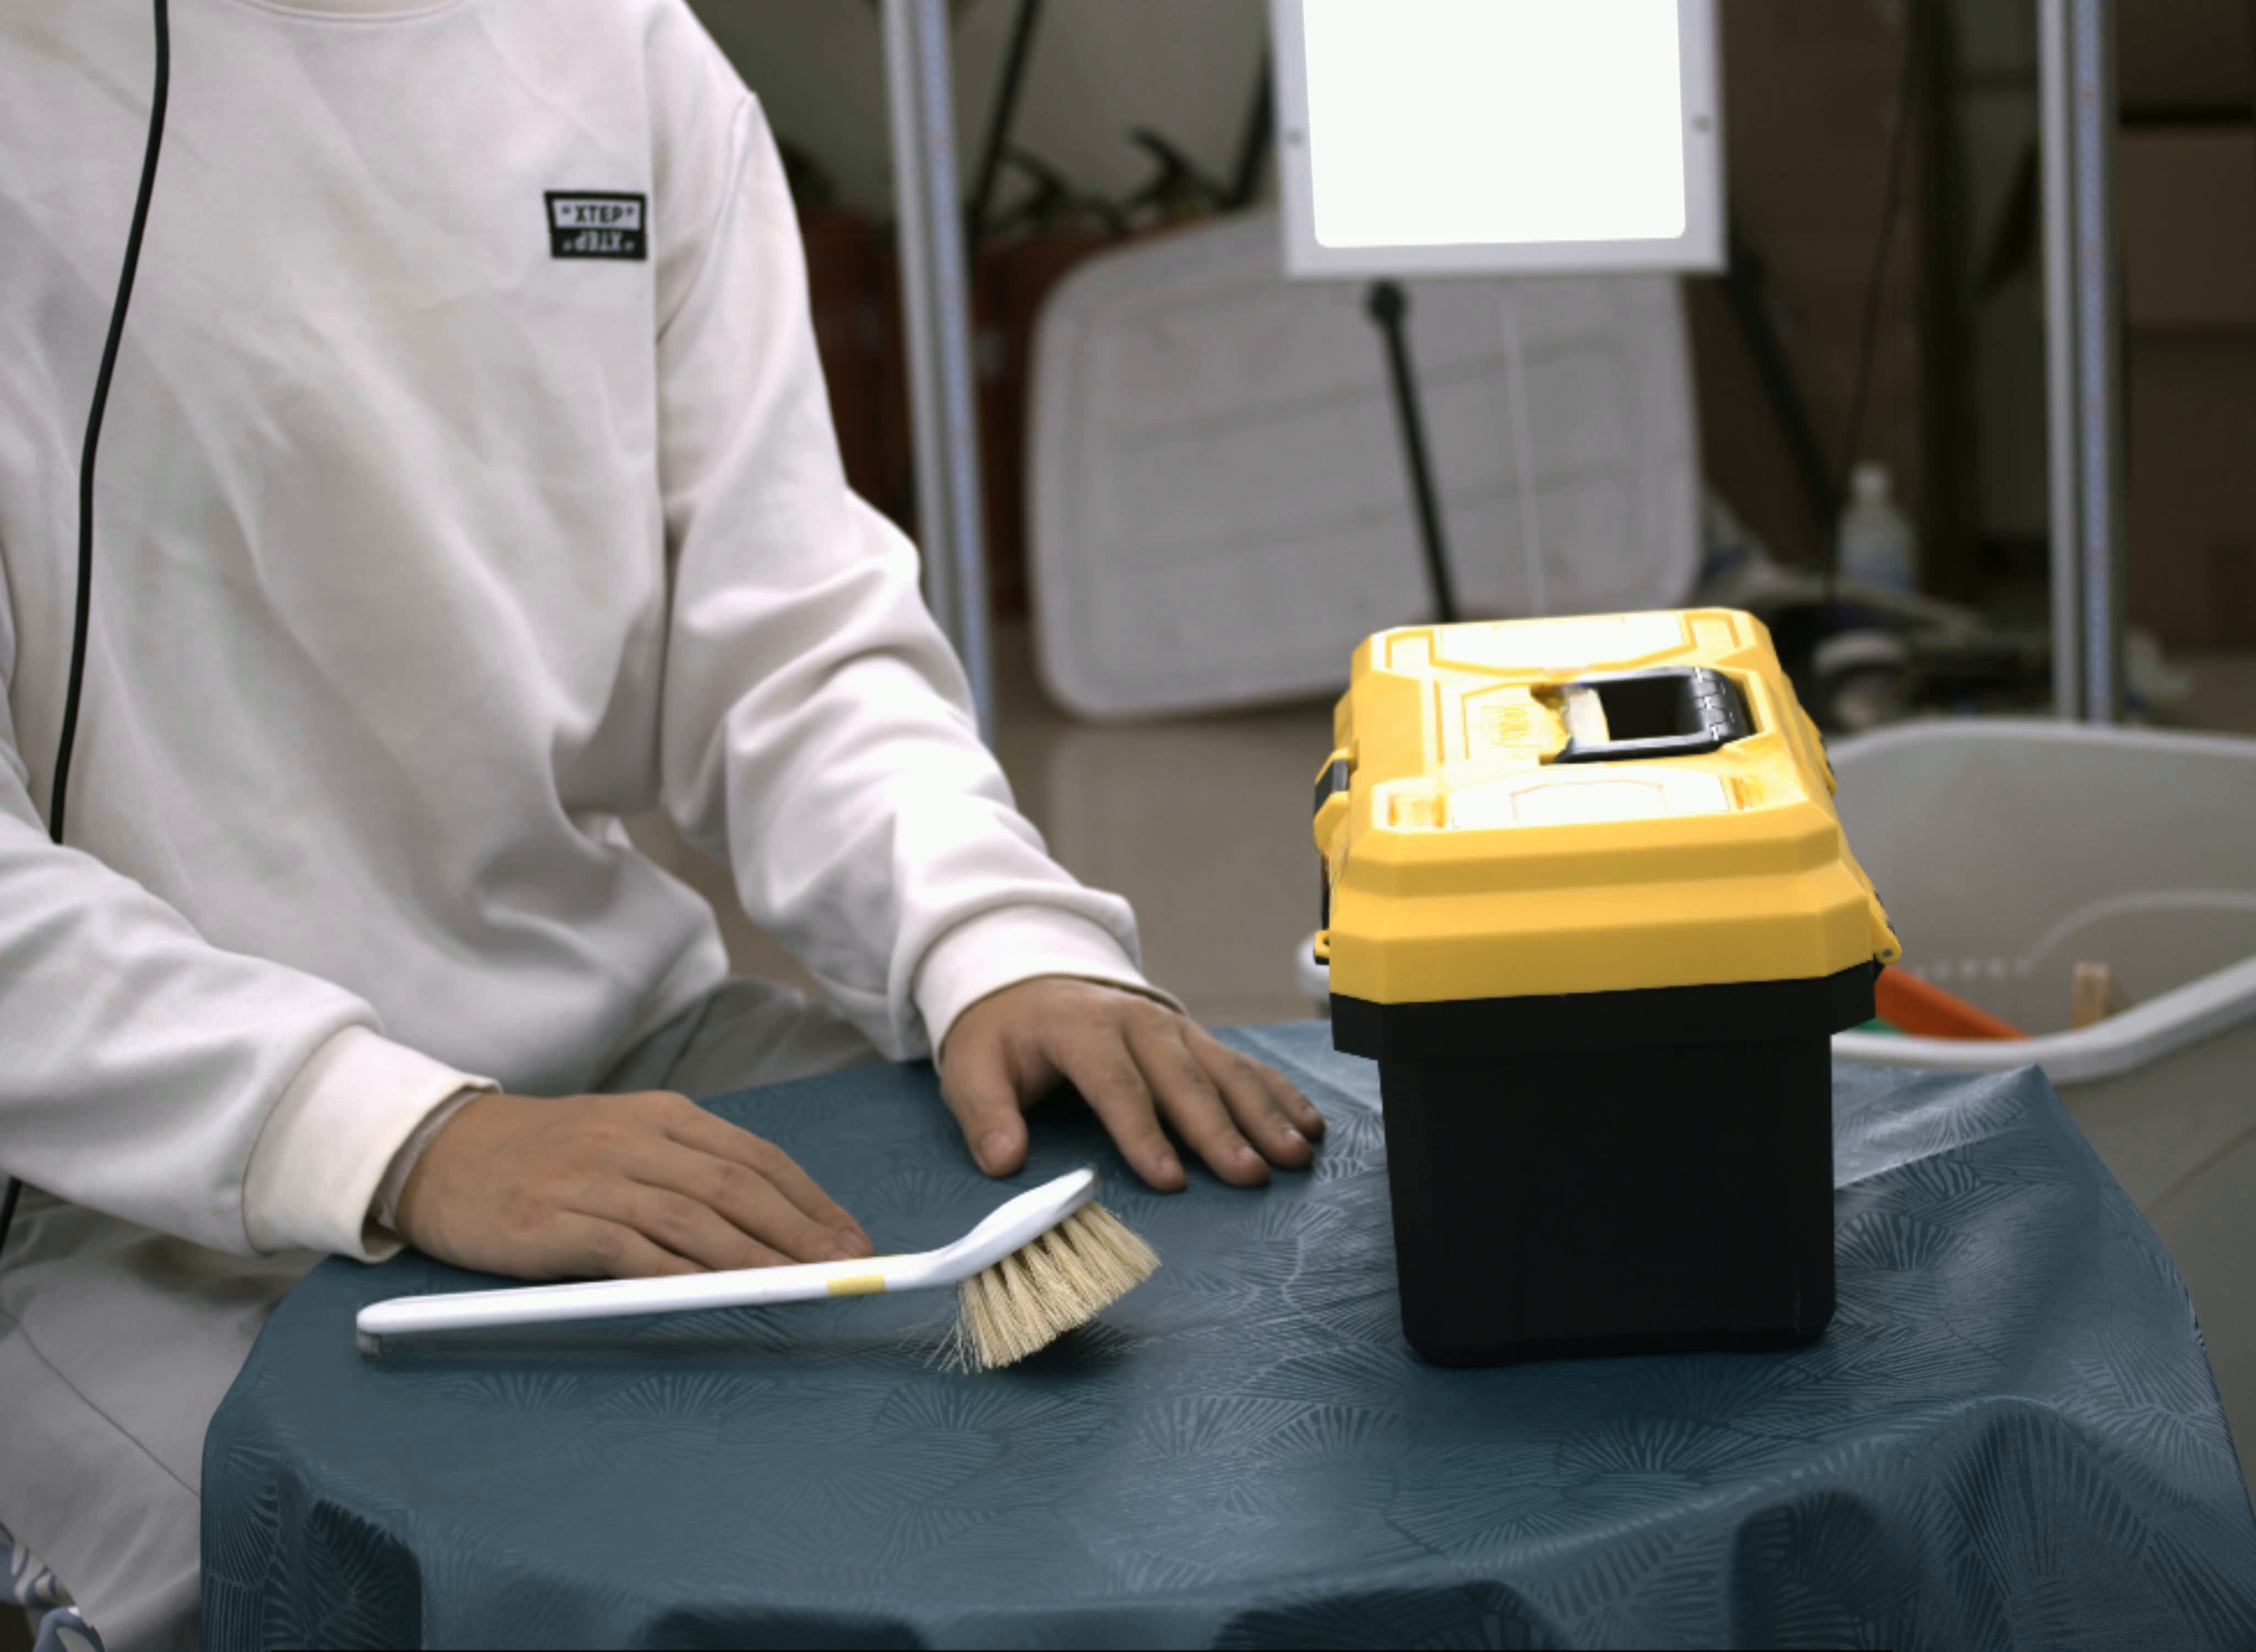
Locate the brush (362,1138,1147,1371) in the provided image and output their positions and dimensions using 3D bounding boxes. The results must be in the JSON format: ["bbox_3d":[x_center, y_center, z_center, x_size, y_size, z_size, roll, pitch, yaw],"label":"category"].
[{"bbox_3d":[-0.119,0.161,1.773,0.269,0.056,0.067,-17,-10,16],"label":"brush"}]

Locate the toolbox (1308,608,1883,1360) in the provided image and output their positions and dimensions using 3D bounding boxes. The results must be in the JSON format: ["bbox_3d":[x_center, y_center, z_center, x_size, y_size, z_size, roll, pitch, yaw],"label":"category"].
[{"bbox_3d":[0.151,0.044,1.813,0.181,0.173,0.349,-3,13,4],"label":"toolbox"}]
